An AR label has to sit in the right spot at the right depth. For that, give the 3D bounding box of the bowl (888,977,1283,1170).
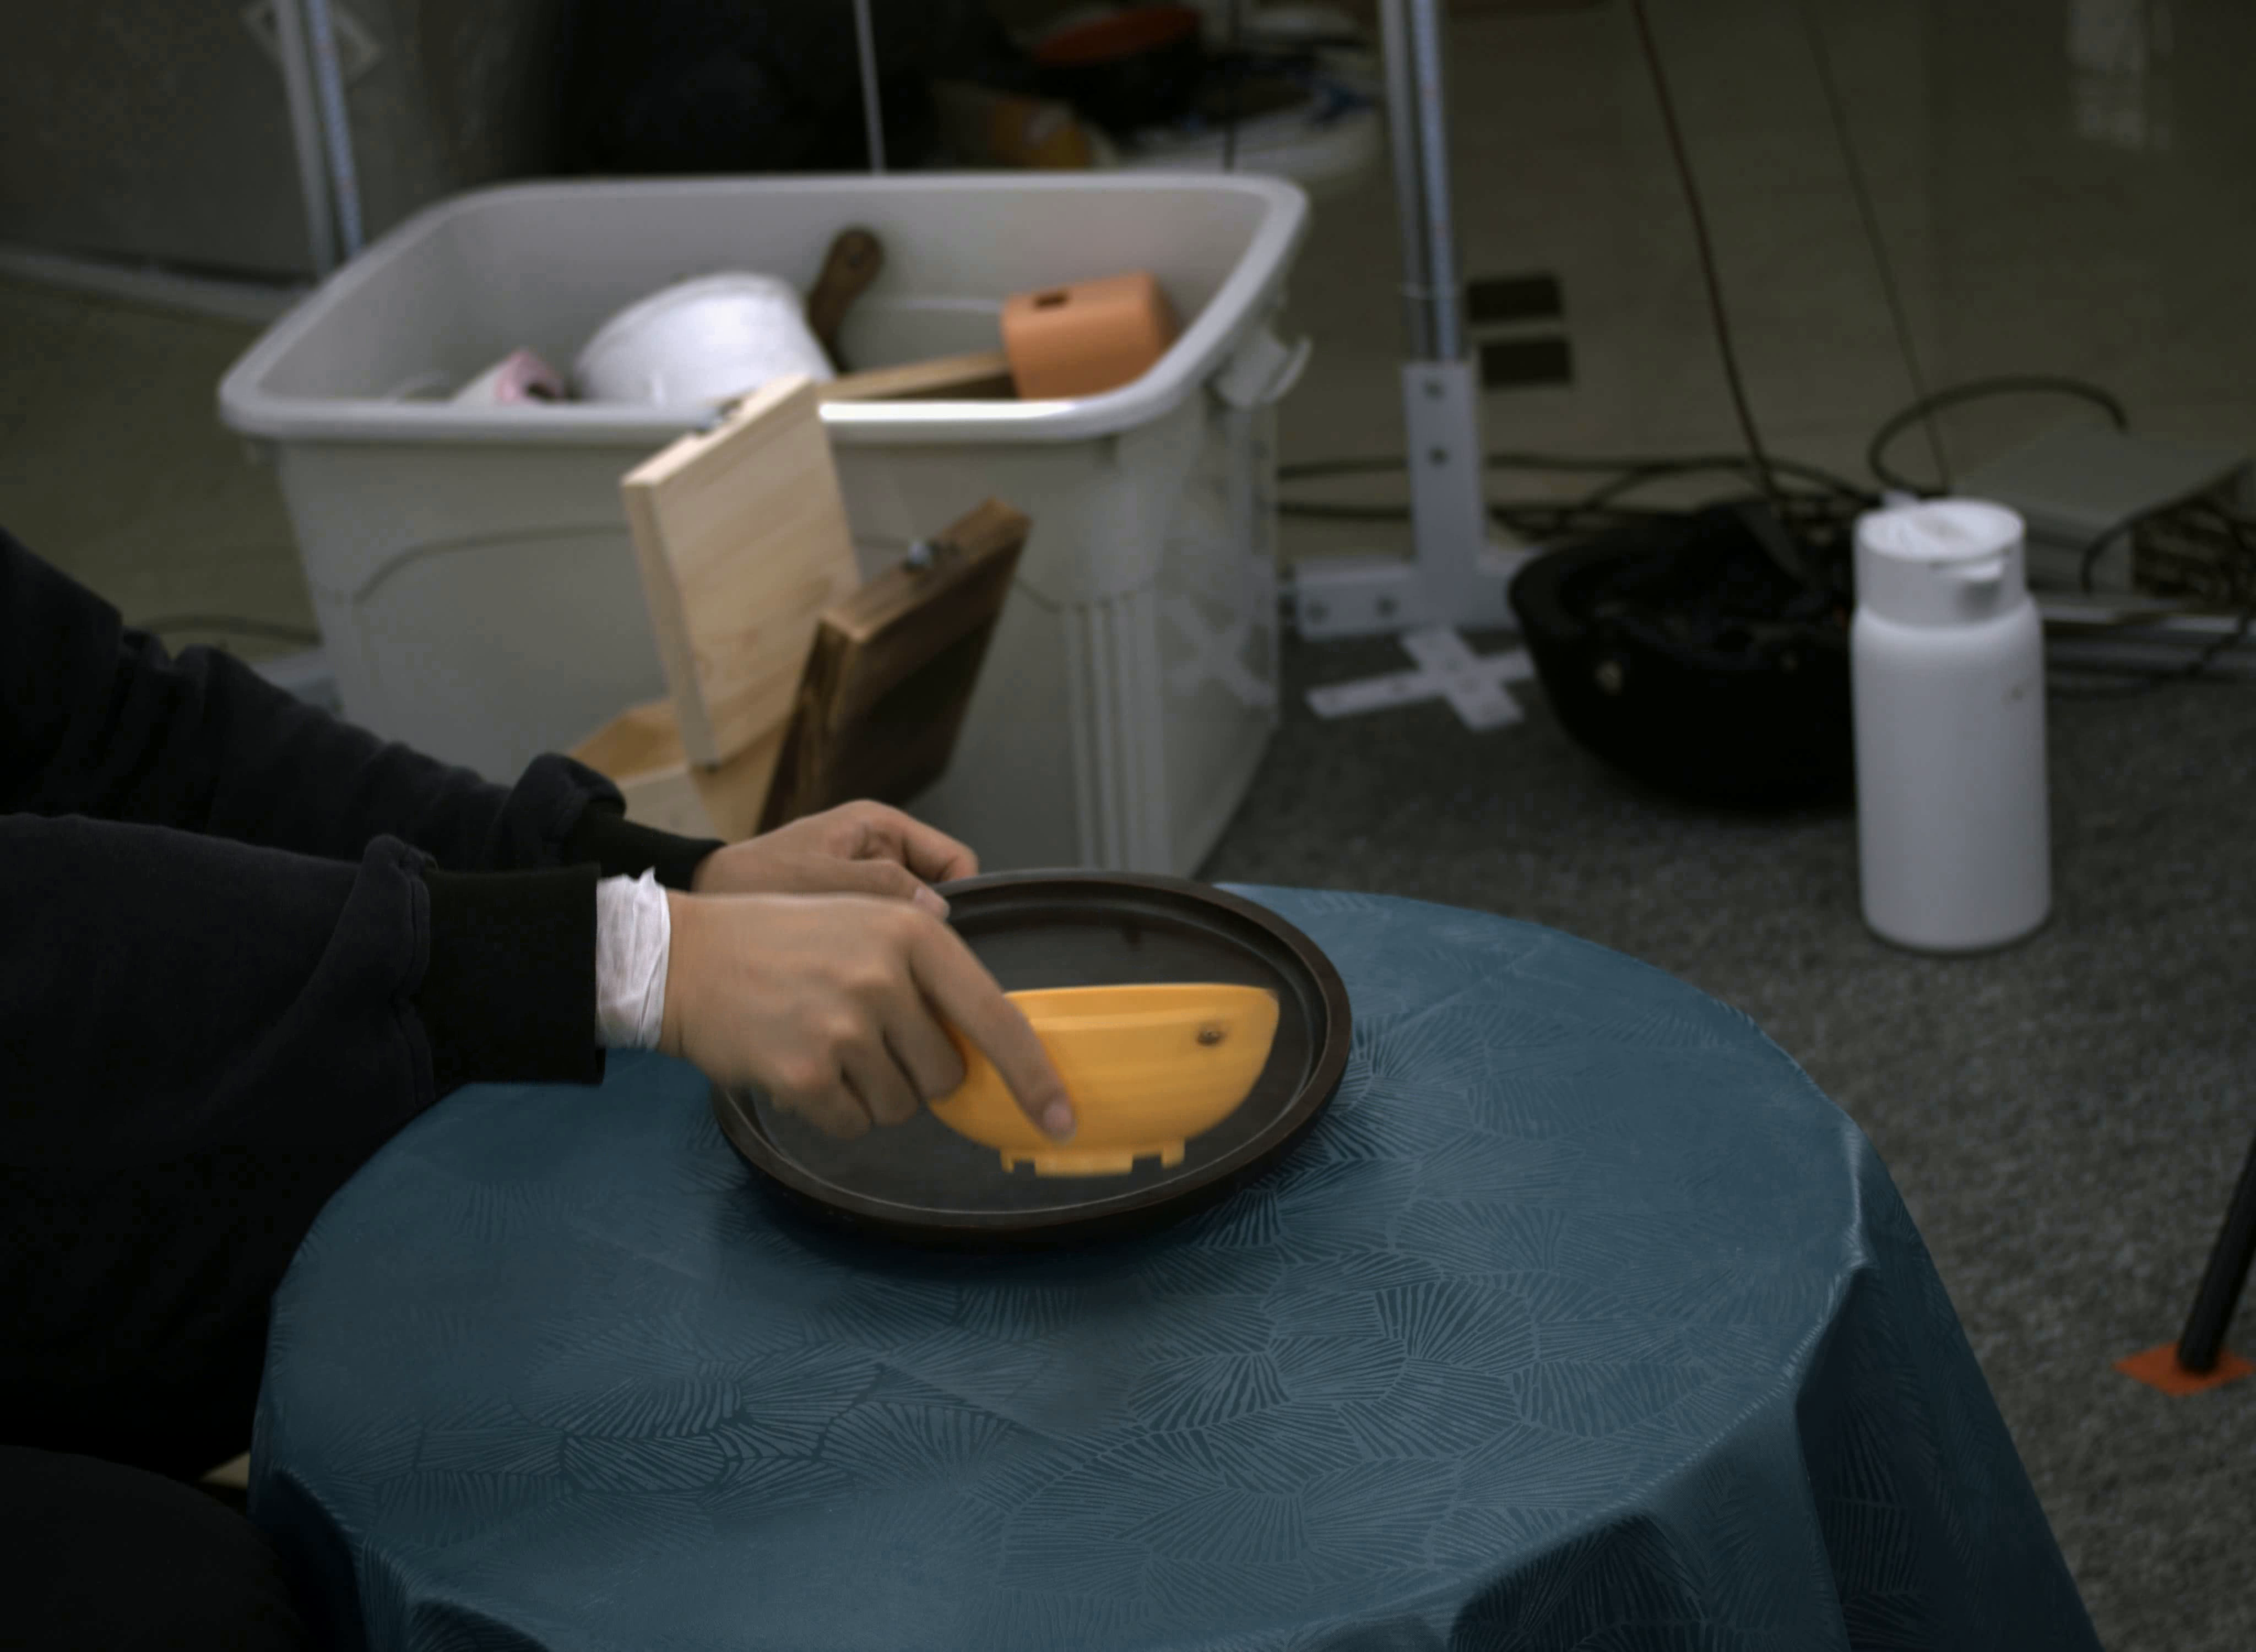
[{"bbox_3d":[-0.012,0.091,2.050,0.145,0.060,0.145,-6,1,0],"label":"bowl"}]

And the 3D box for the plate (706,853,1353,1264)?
[{"bbox_3d":[-0.038,0.092,2.206,0.254,0.029,0.250,-5,33,3],"label":"plate"}]
